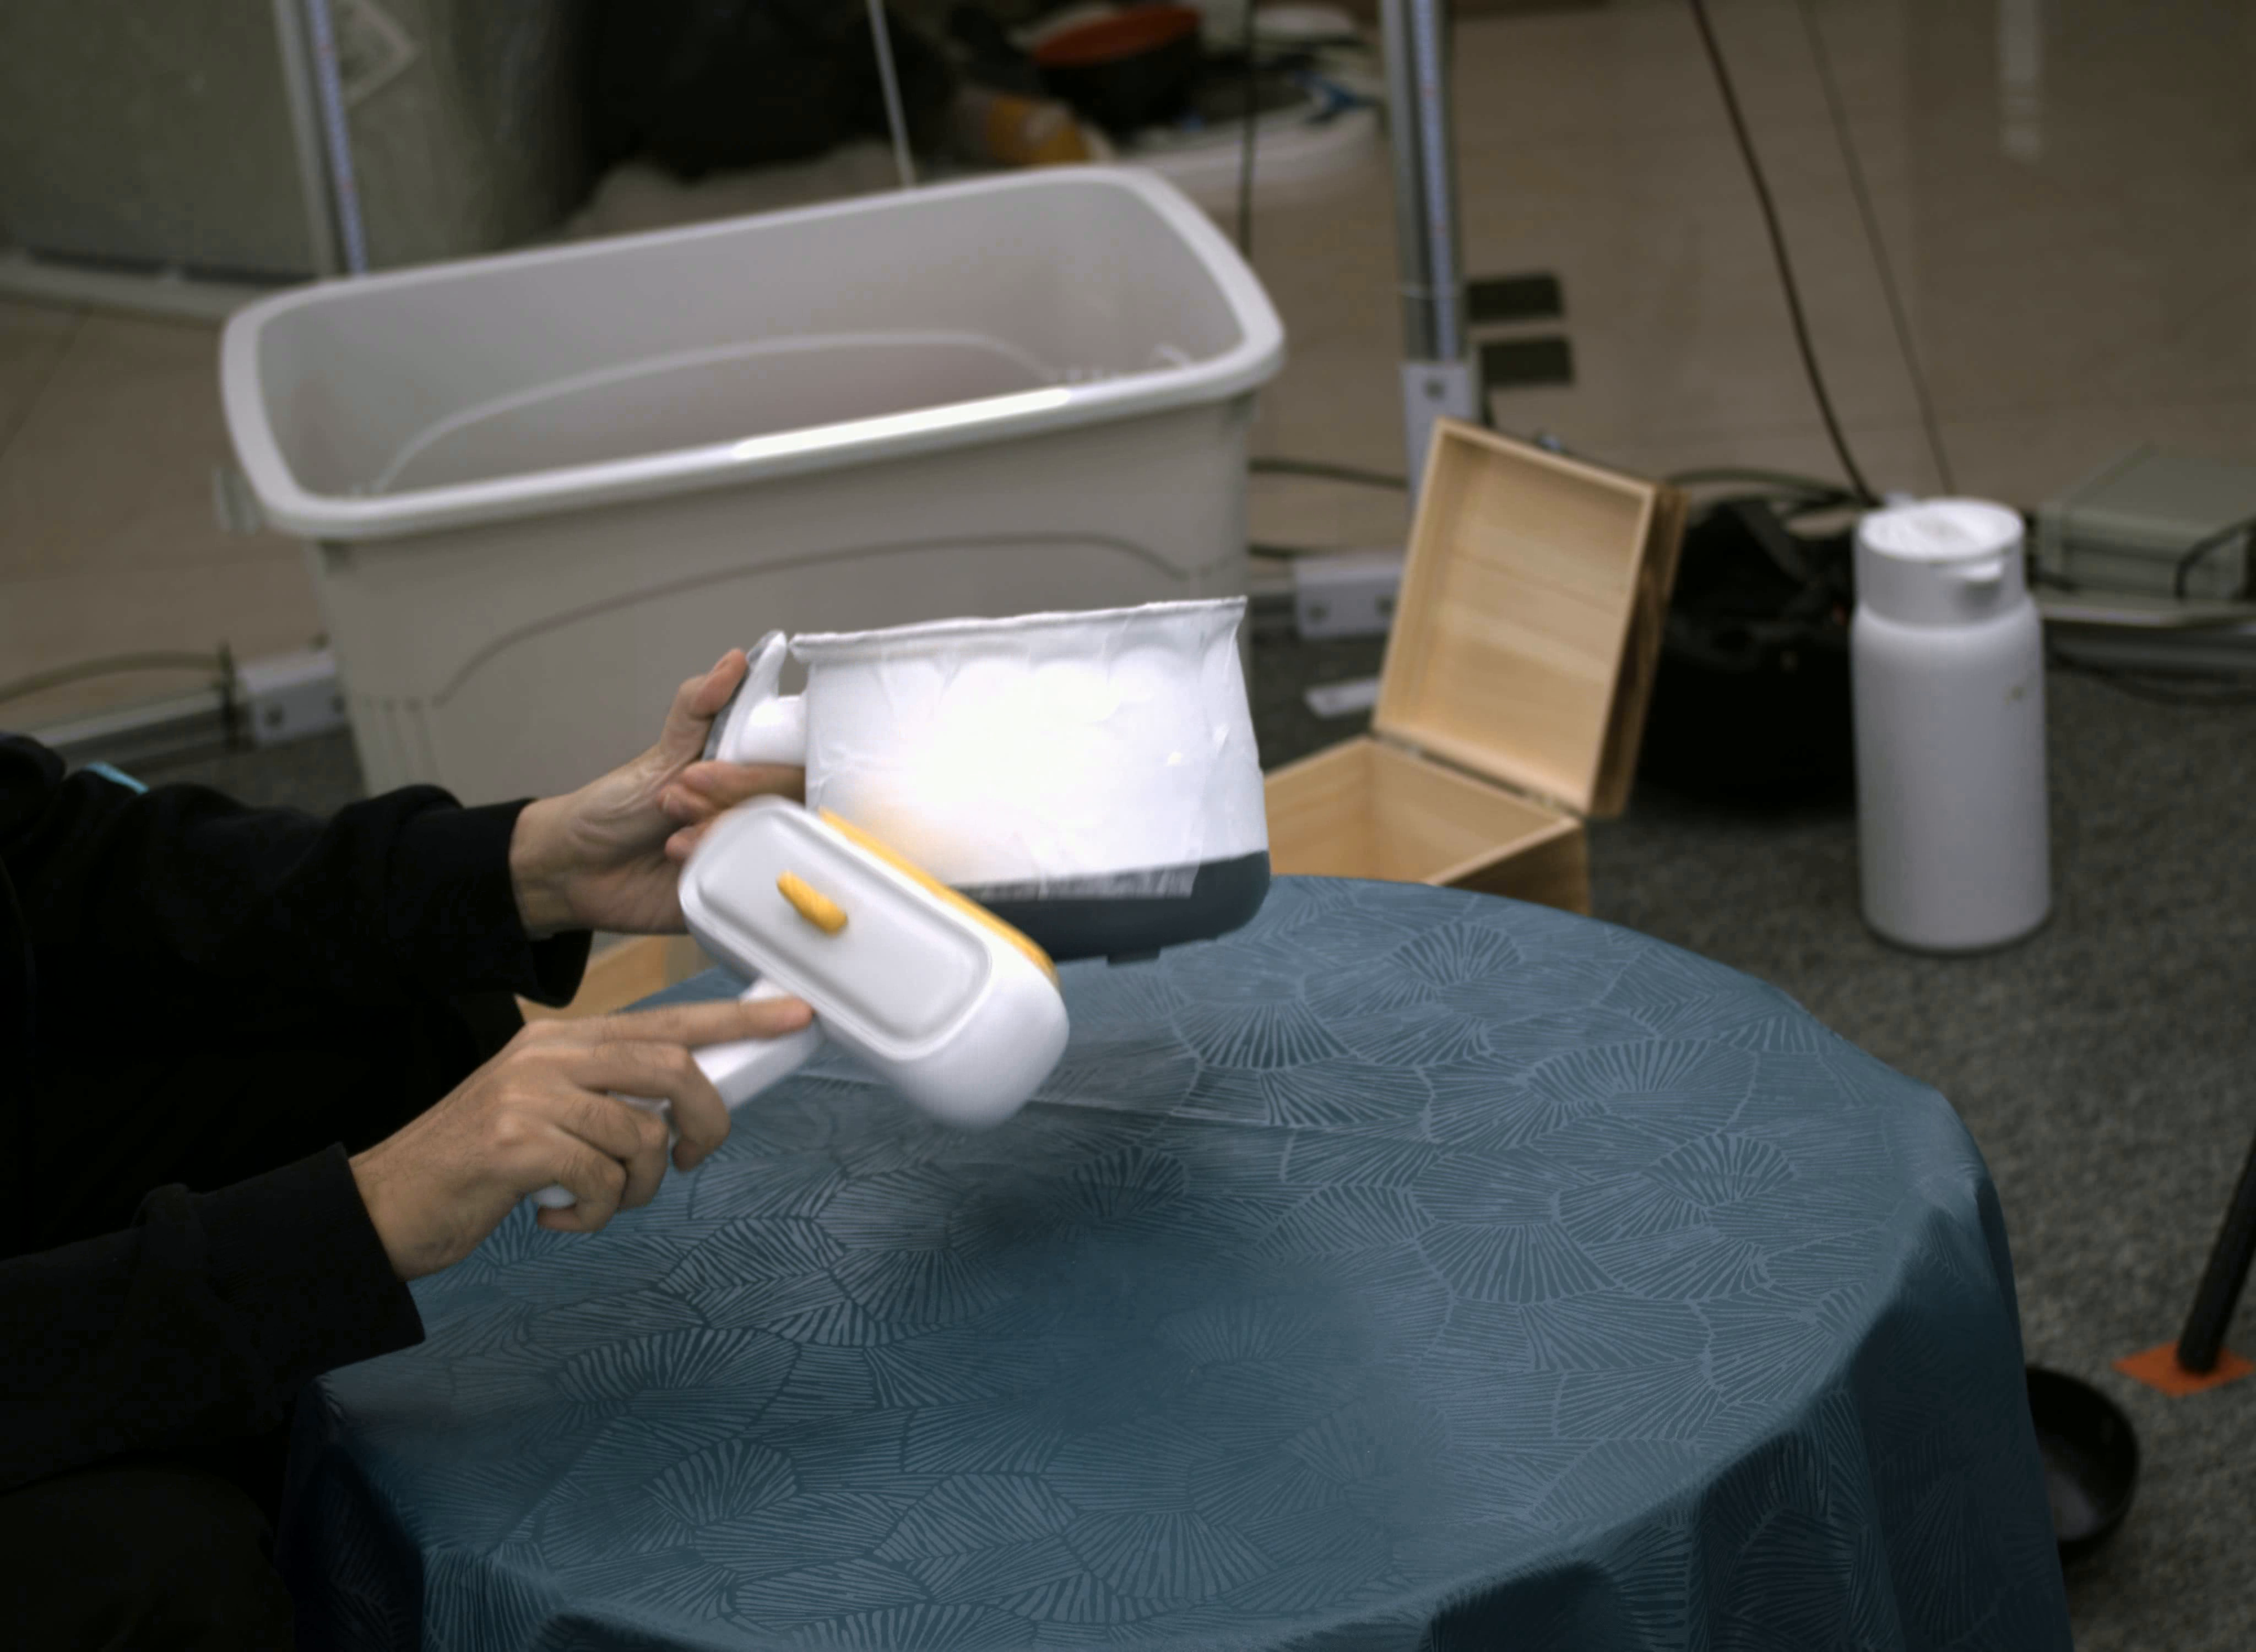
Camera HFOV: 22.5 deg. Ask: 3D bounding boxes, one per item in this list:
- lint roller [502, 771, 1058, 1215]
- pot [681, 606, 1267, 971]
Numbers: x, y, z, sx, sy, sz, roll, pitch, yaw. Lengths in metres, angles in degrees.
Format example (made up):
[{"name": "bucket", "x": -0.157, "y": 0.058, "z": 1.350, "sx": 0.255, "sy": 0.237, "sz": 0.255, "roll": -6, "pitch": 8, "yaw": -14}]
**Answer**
[{"name": "lint roller", "x": -0.142, "y": 0.075, "z": 2.035, "sx": 0.191, "sy": 0.075, "sz": 0.191, "roll": -47, "pitch": 48, "yaw": -15}, {"name": "pot", "x": -0.063, "y": -0.013, "z": 2.172, "sx": 0.233, "sy": 0.137, "sz": 0.178, "roll": -3, "pitch": 3, "yaw": 15}]
